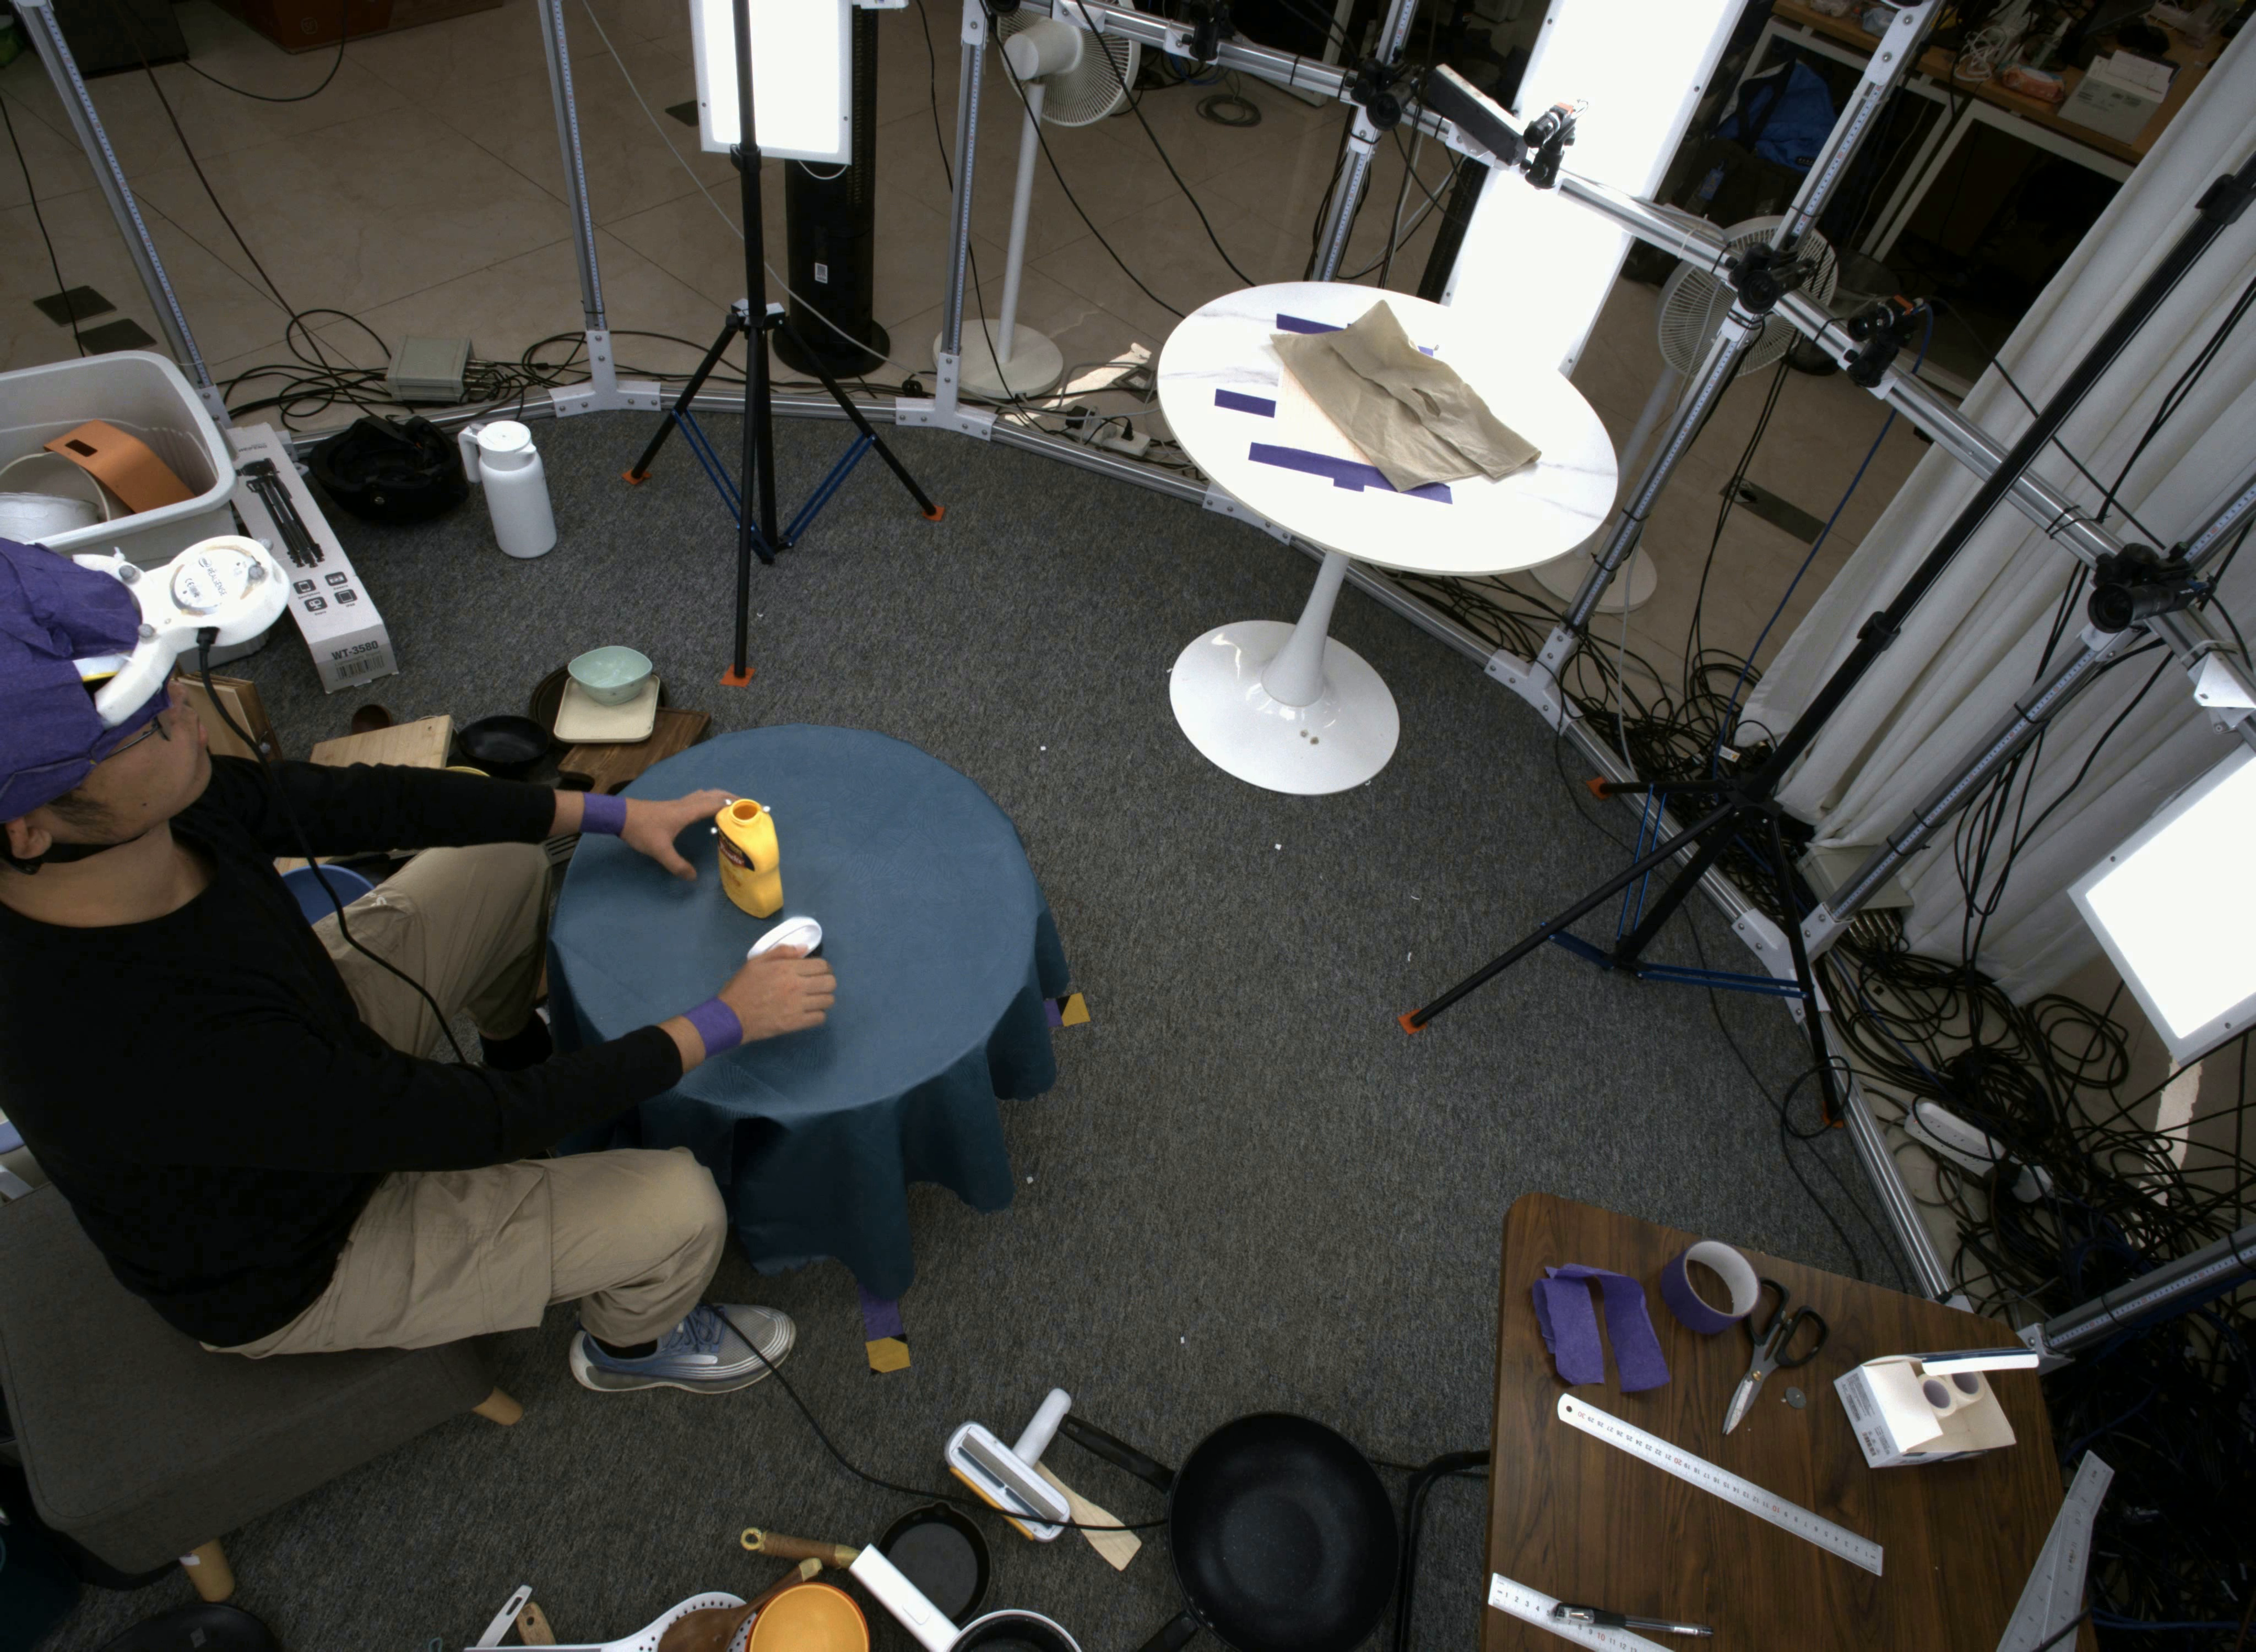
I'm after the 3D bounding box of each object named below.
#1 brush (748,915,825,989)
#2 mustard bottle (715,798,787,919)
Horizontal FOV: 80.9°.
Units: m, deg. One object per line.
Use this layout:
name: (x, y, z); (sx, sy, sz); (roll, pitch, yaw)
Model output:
brush: (-0.416, 0.144, 1.575); (0.099, 0.074, 0.049); (-32, 63, -33)
mustard bottle: (-0.464, 0.032, 1.586); (0.096, 0.175, 0.059); (39, 58, 17)
